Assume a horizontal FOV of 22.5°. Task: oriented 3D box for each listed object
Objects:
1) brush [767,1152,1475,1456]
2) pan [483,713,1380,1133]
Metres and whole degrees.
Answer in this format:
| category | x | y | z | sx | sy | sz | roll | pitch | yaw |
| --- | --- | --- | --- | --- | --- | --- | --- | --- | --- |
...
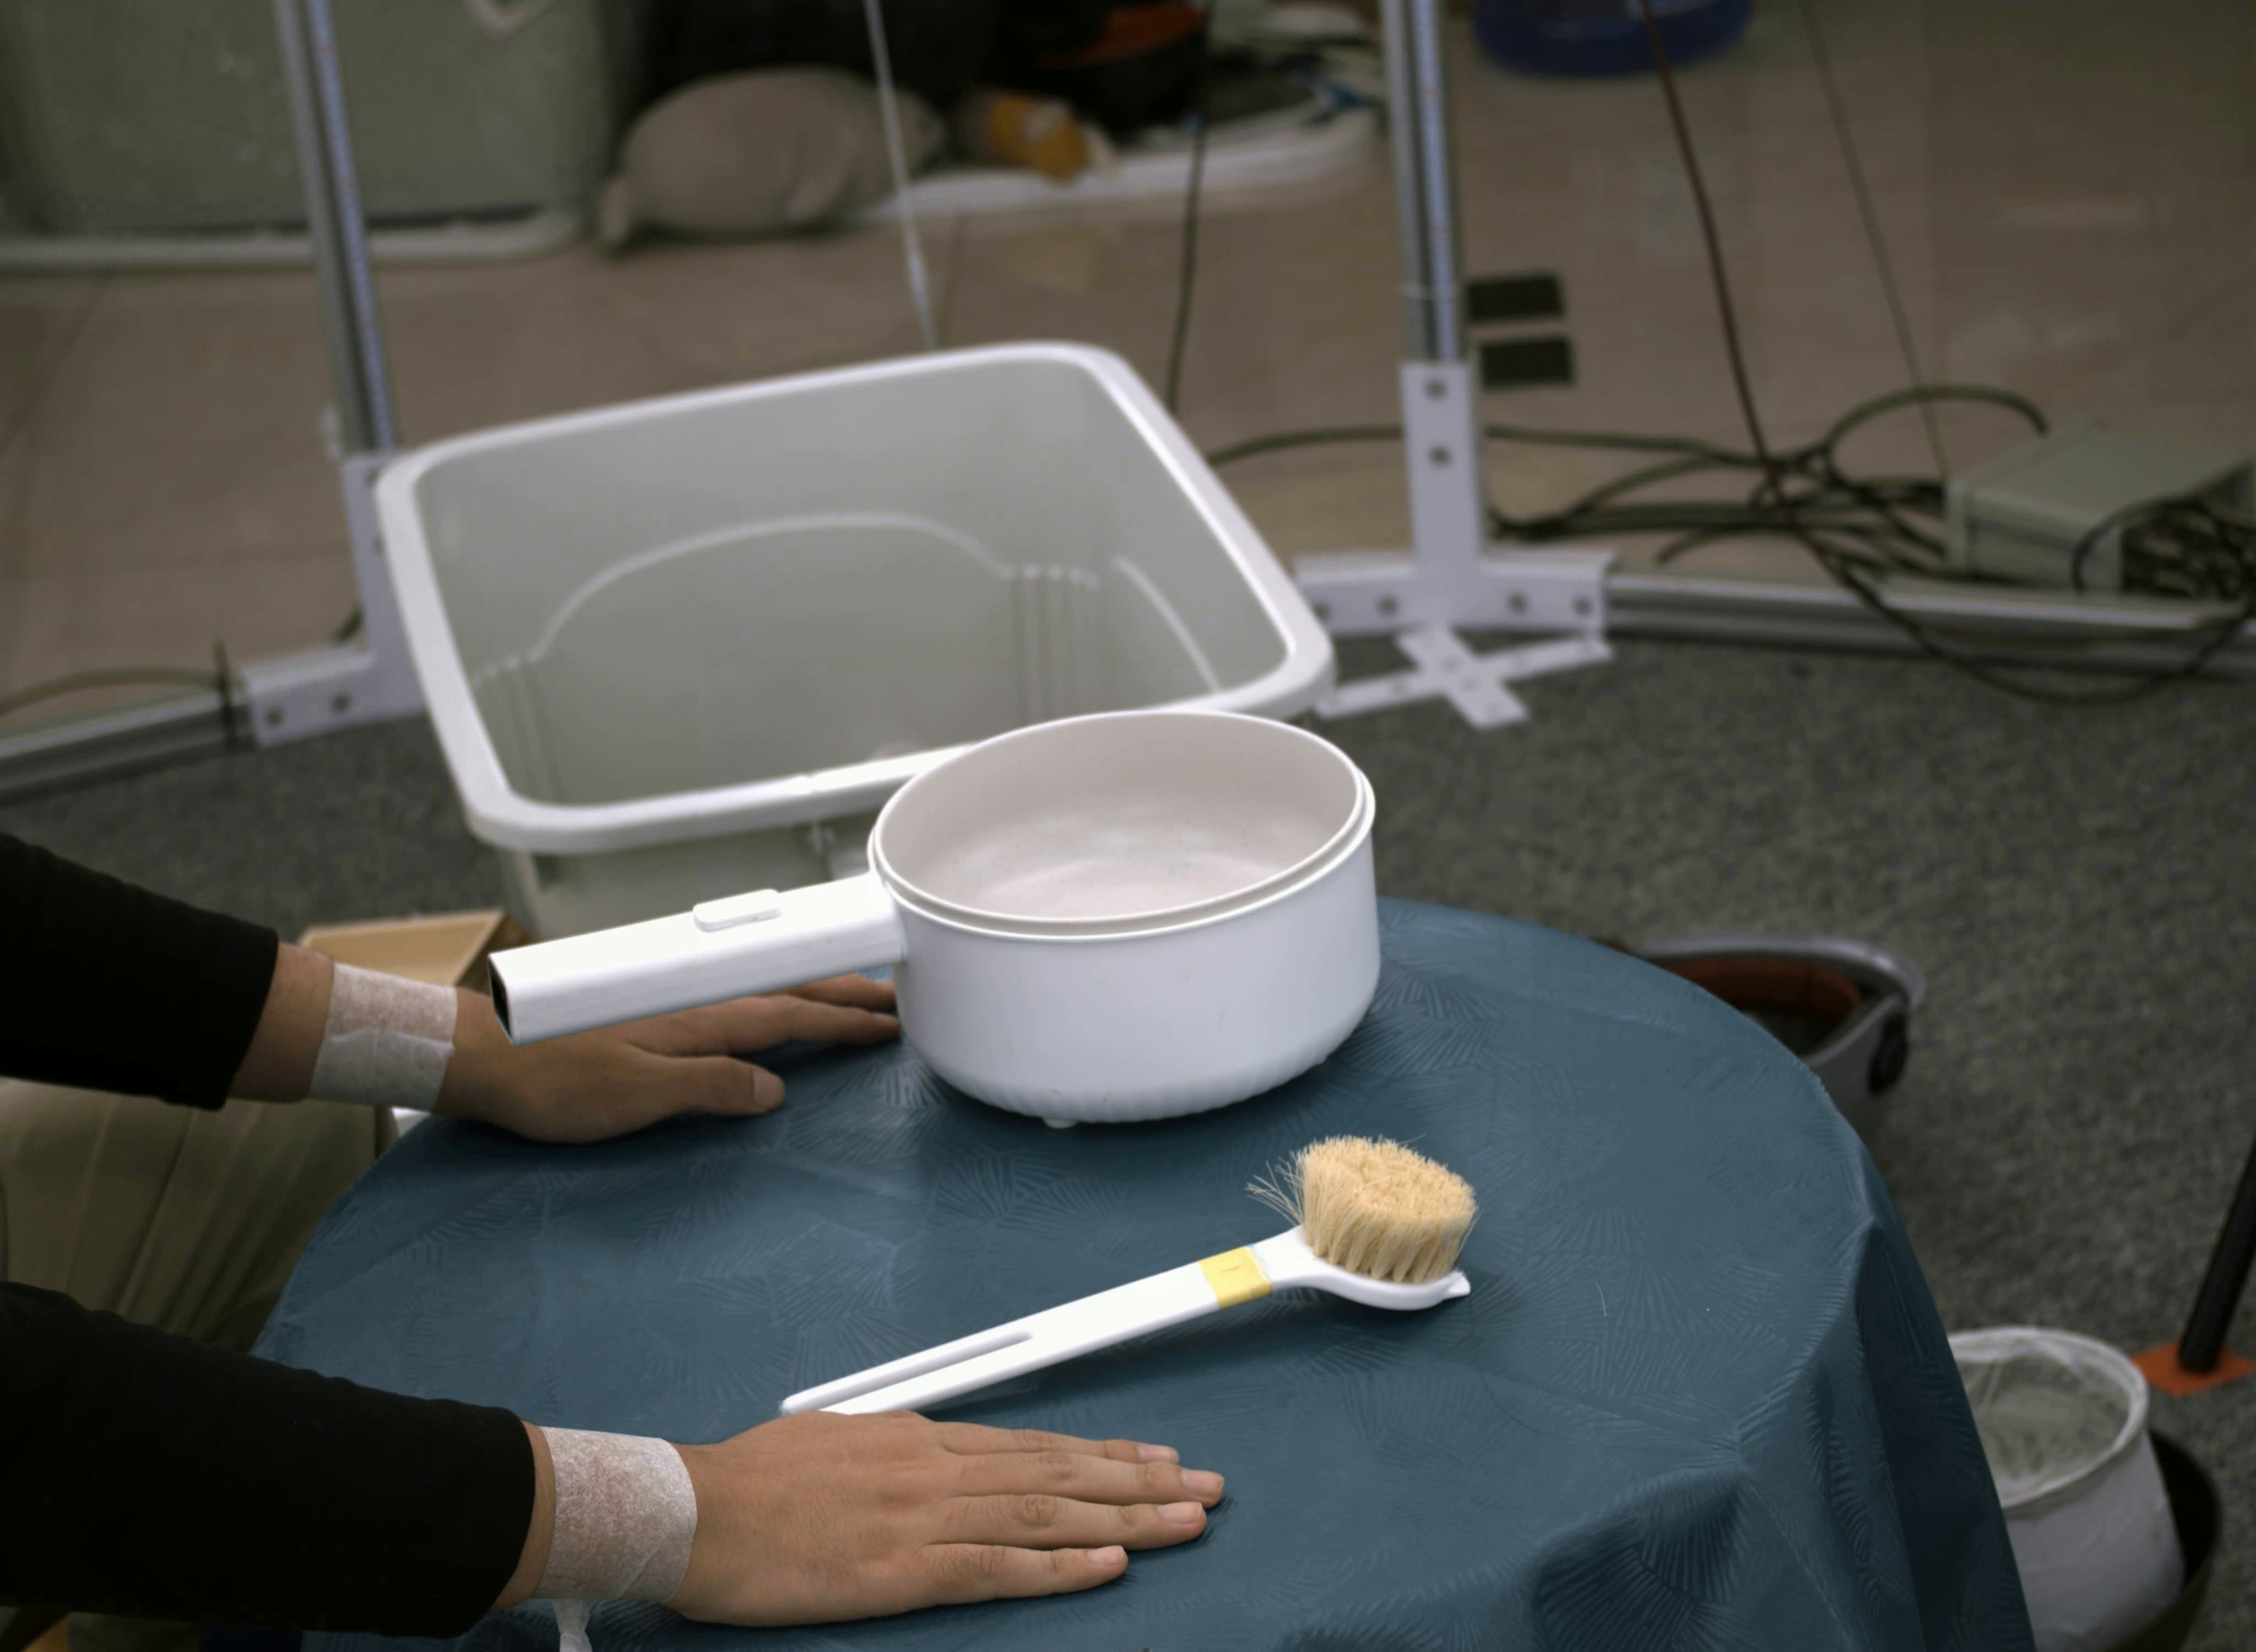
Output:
| category | x | y | z | sx | sy | sz | roll | pitch | yaw |
| --- | --- | --- | --- | --- | --- | --- | --- | --- | --- |
| brush | -0.003 | 0.168 | 2.022 | 0.266 | 0.057 | 0.068 | -12 | 22 | -10 |
| pan | -0.071 | 0.059 | 2.222 | 0.353 | 0.104 | 0.198 | -14 | 27 | -13 |
